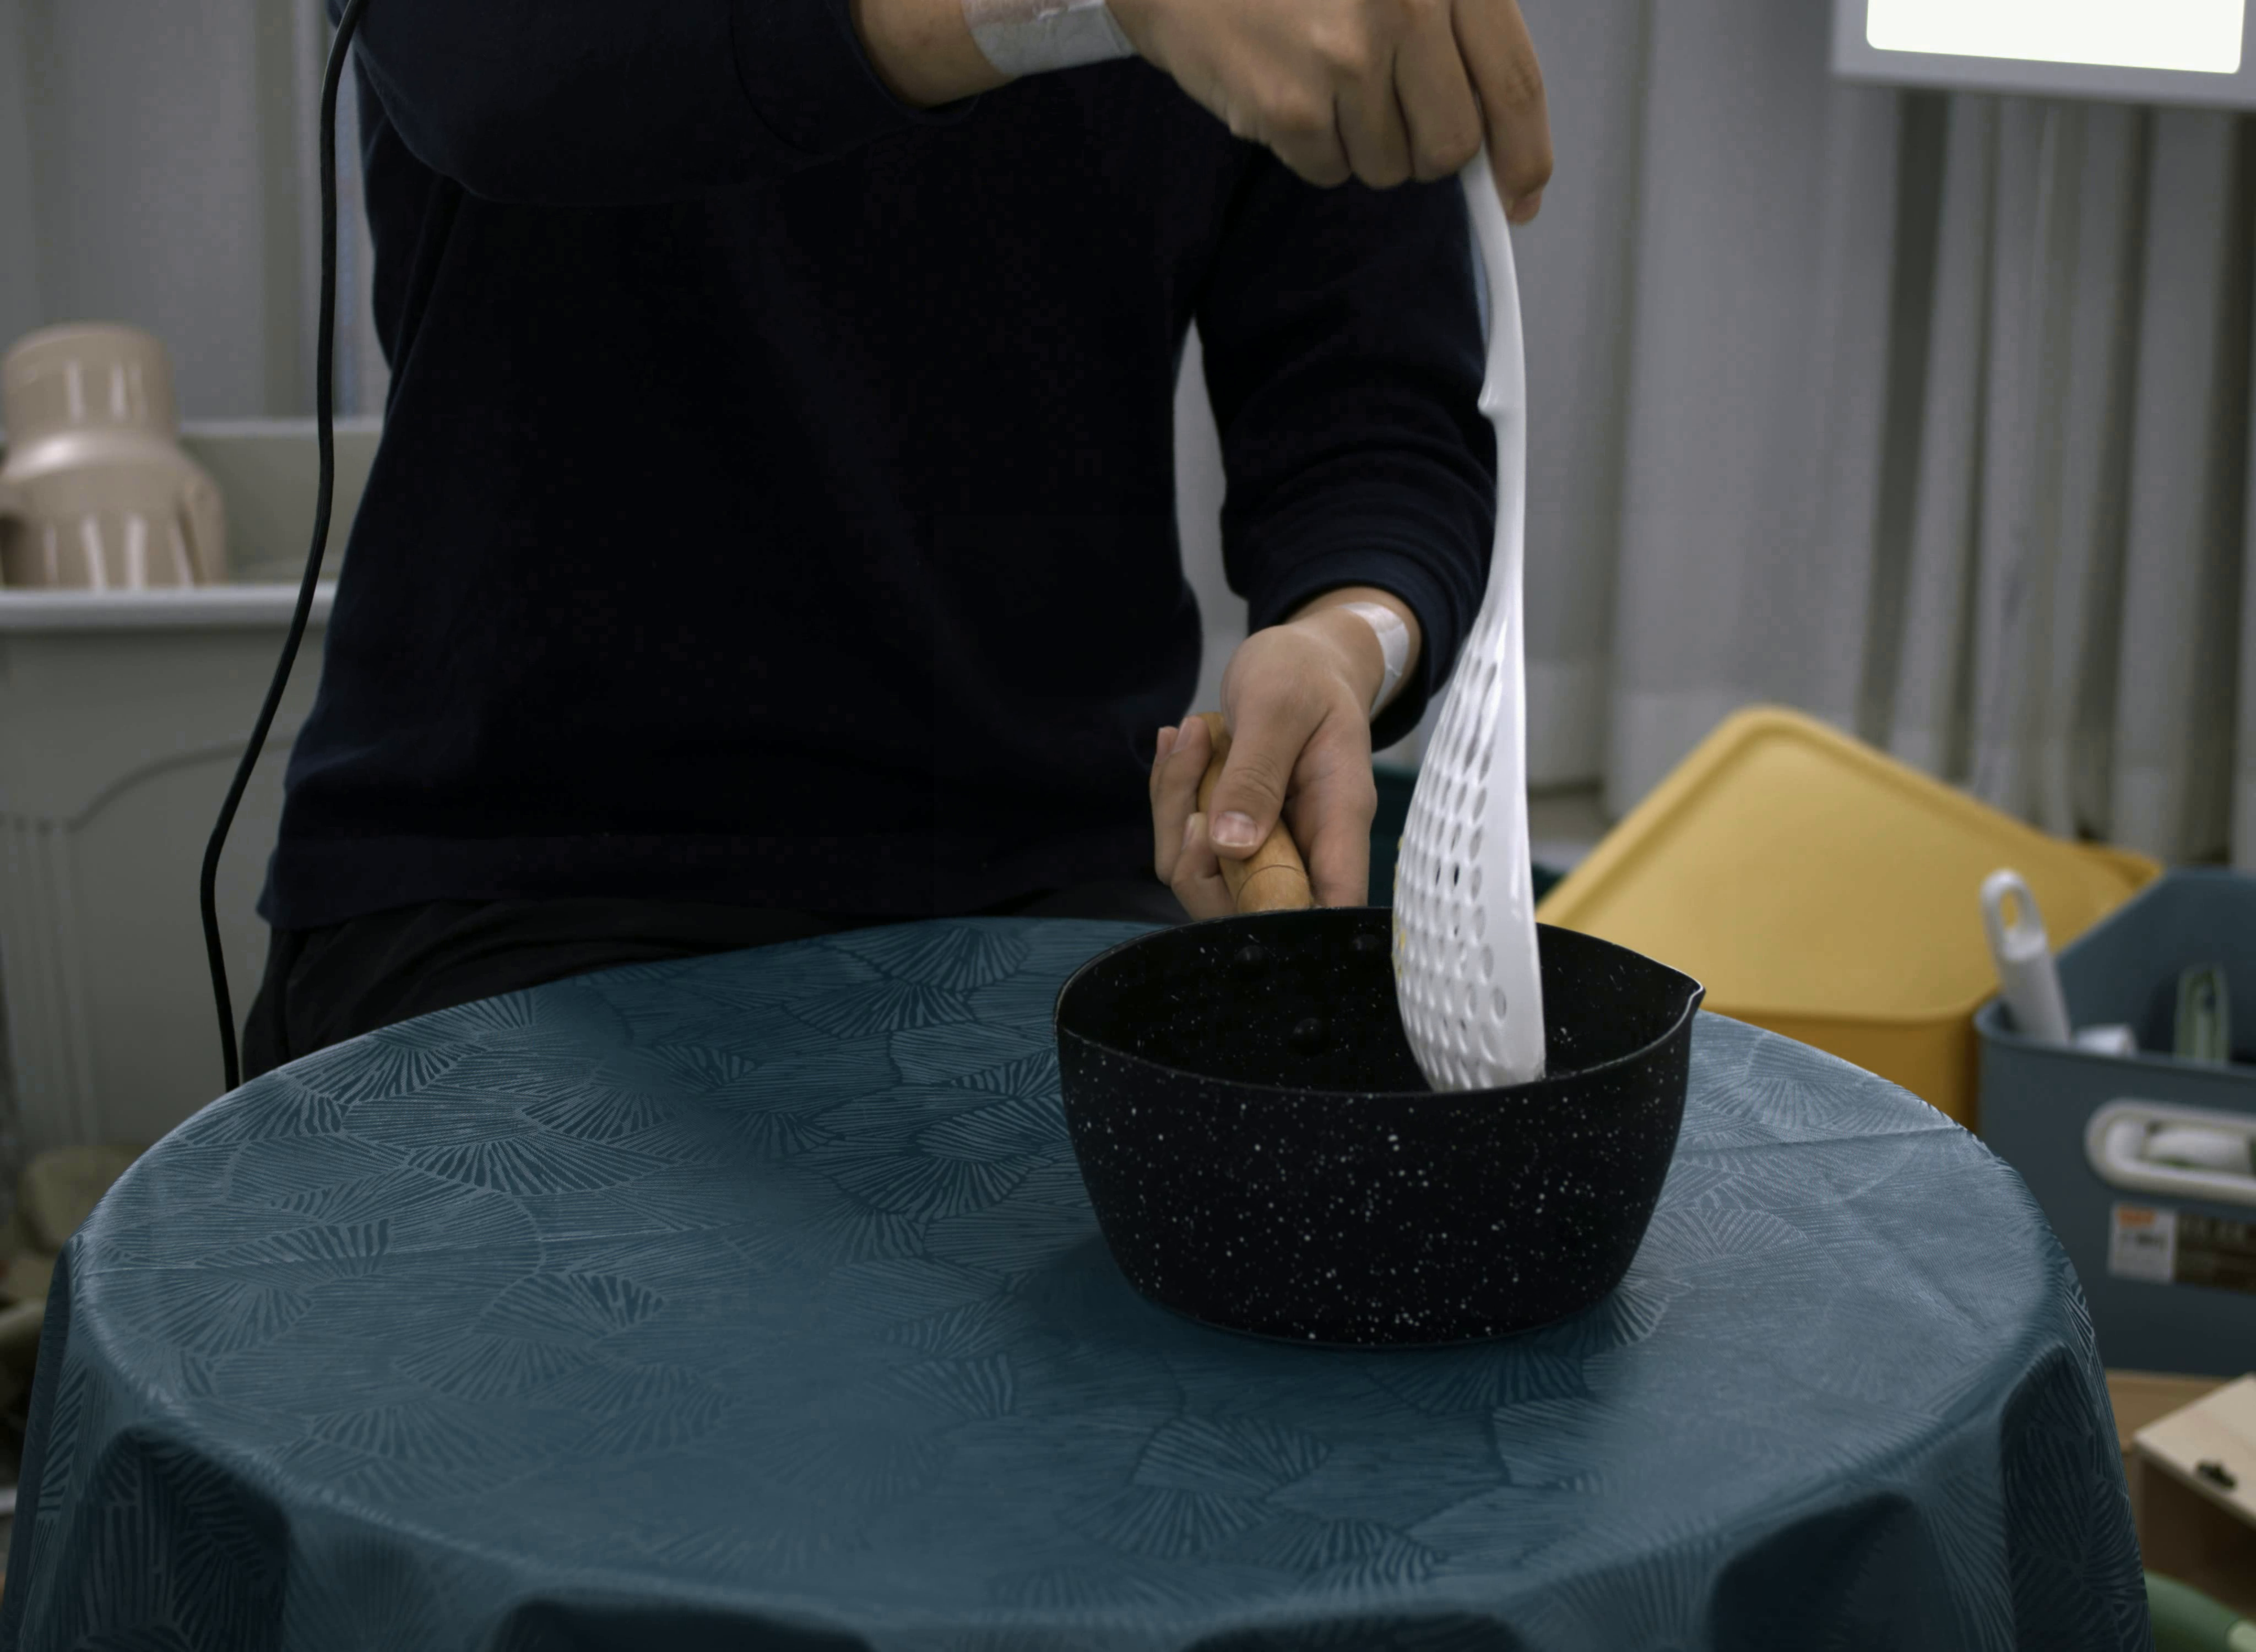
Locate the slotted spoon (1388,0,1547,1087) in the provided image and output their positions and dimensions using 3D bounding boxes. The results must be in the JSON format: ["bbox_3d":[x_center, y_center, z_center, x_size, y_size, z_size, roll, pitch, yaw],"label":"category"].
[{"bbox_3d":[0.101,-0.067,1.518,0.050,0.351,0.136,2,16,-2],"label":"slotted spoon"}]

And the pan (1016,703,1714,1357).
[{"bbox_3d":[0.056,0.057,1.620,0.207,0.109,0.339,-4,17,-11],"label":"pan"}]
